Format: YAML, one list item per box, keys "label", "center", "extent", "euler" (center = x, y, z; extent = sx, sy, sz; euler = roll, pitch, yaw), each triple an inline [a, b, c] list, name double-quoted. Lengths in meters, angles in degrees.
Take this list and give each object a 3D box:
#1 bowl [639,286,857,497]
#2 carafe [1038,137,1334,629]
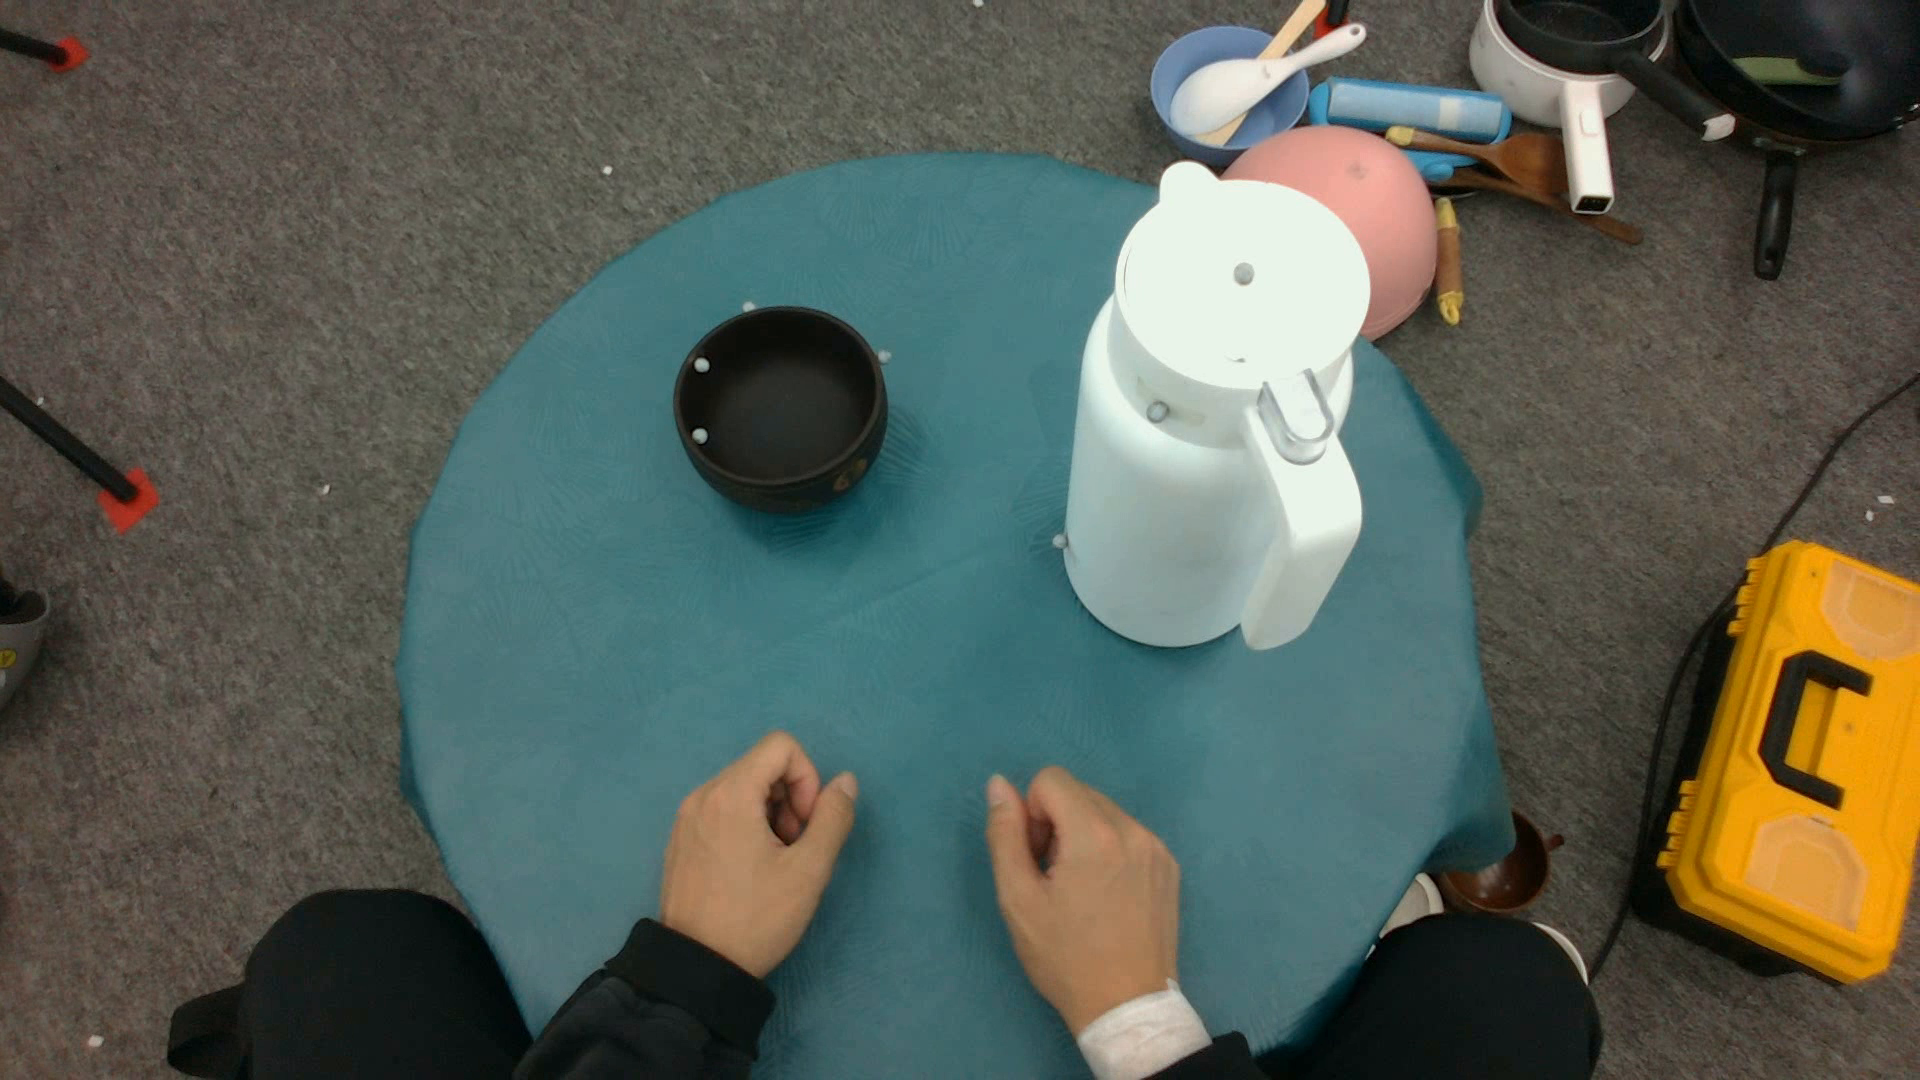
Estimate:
- label: "bowl"
  center: [-0.116, -0.077, 0.776]
  extent: [0.118, 0.069, 0.118]
  euler: [0, 66, -1]
- label: "carafe"
  center: [0.107, -0.042, 0.655]
  extent: [0.124, 0.268, 0.173]
  euler: [-17, 67, -9]
